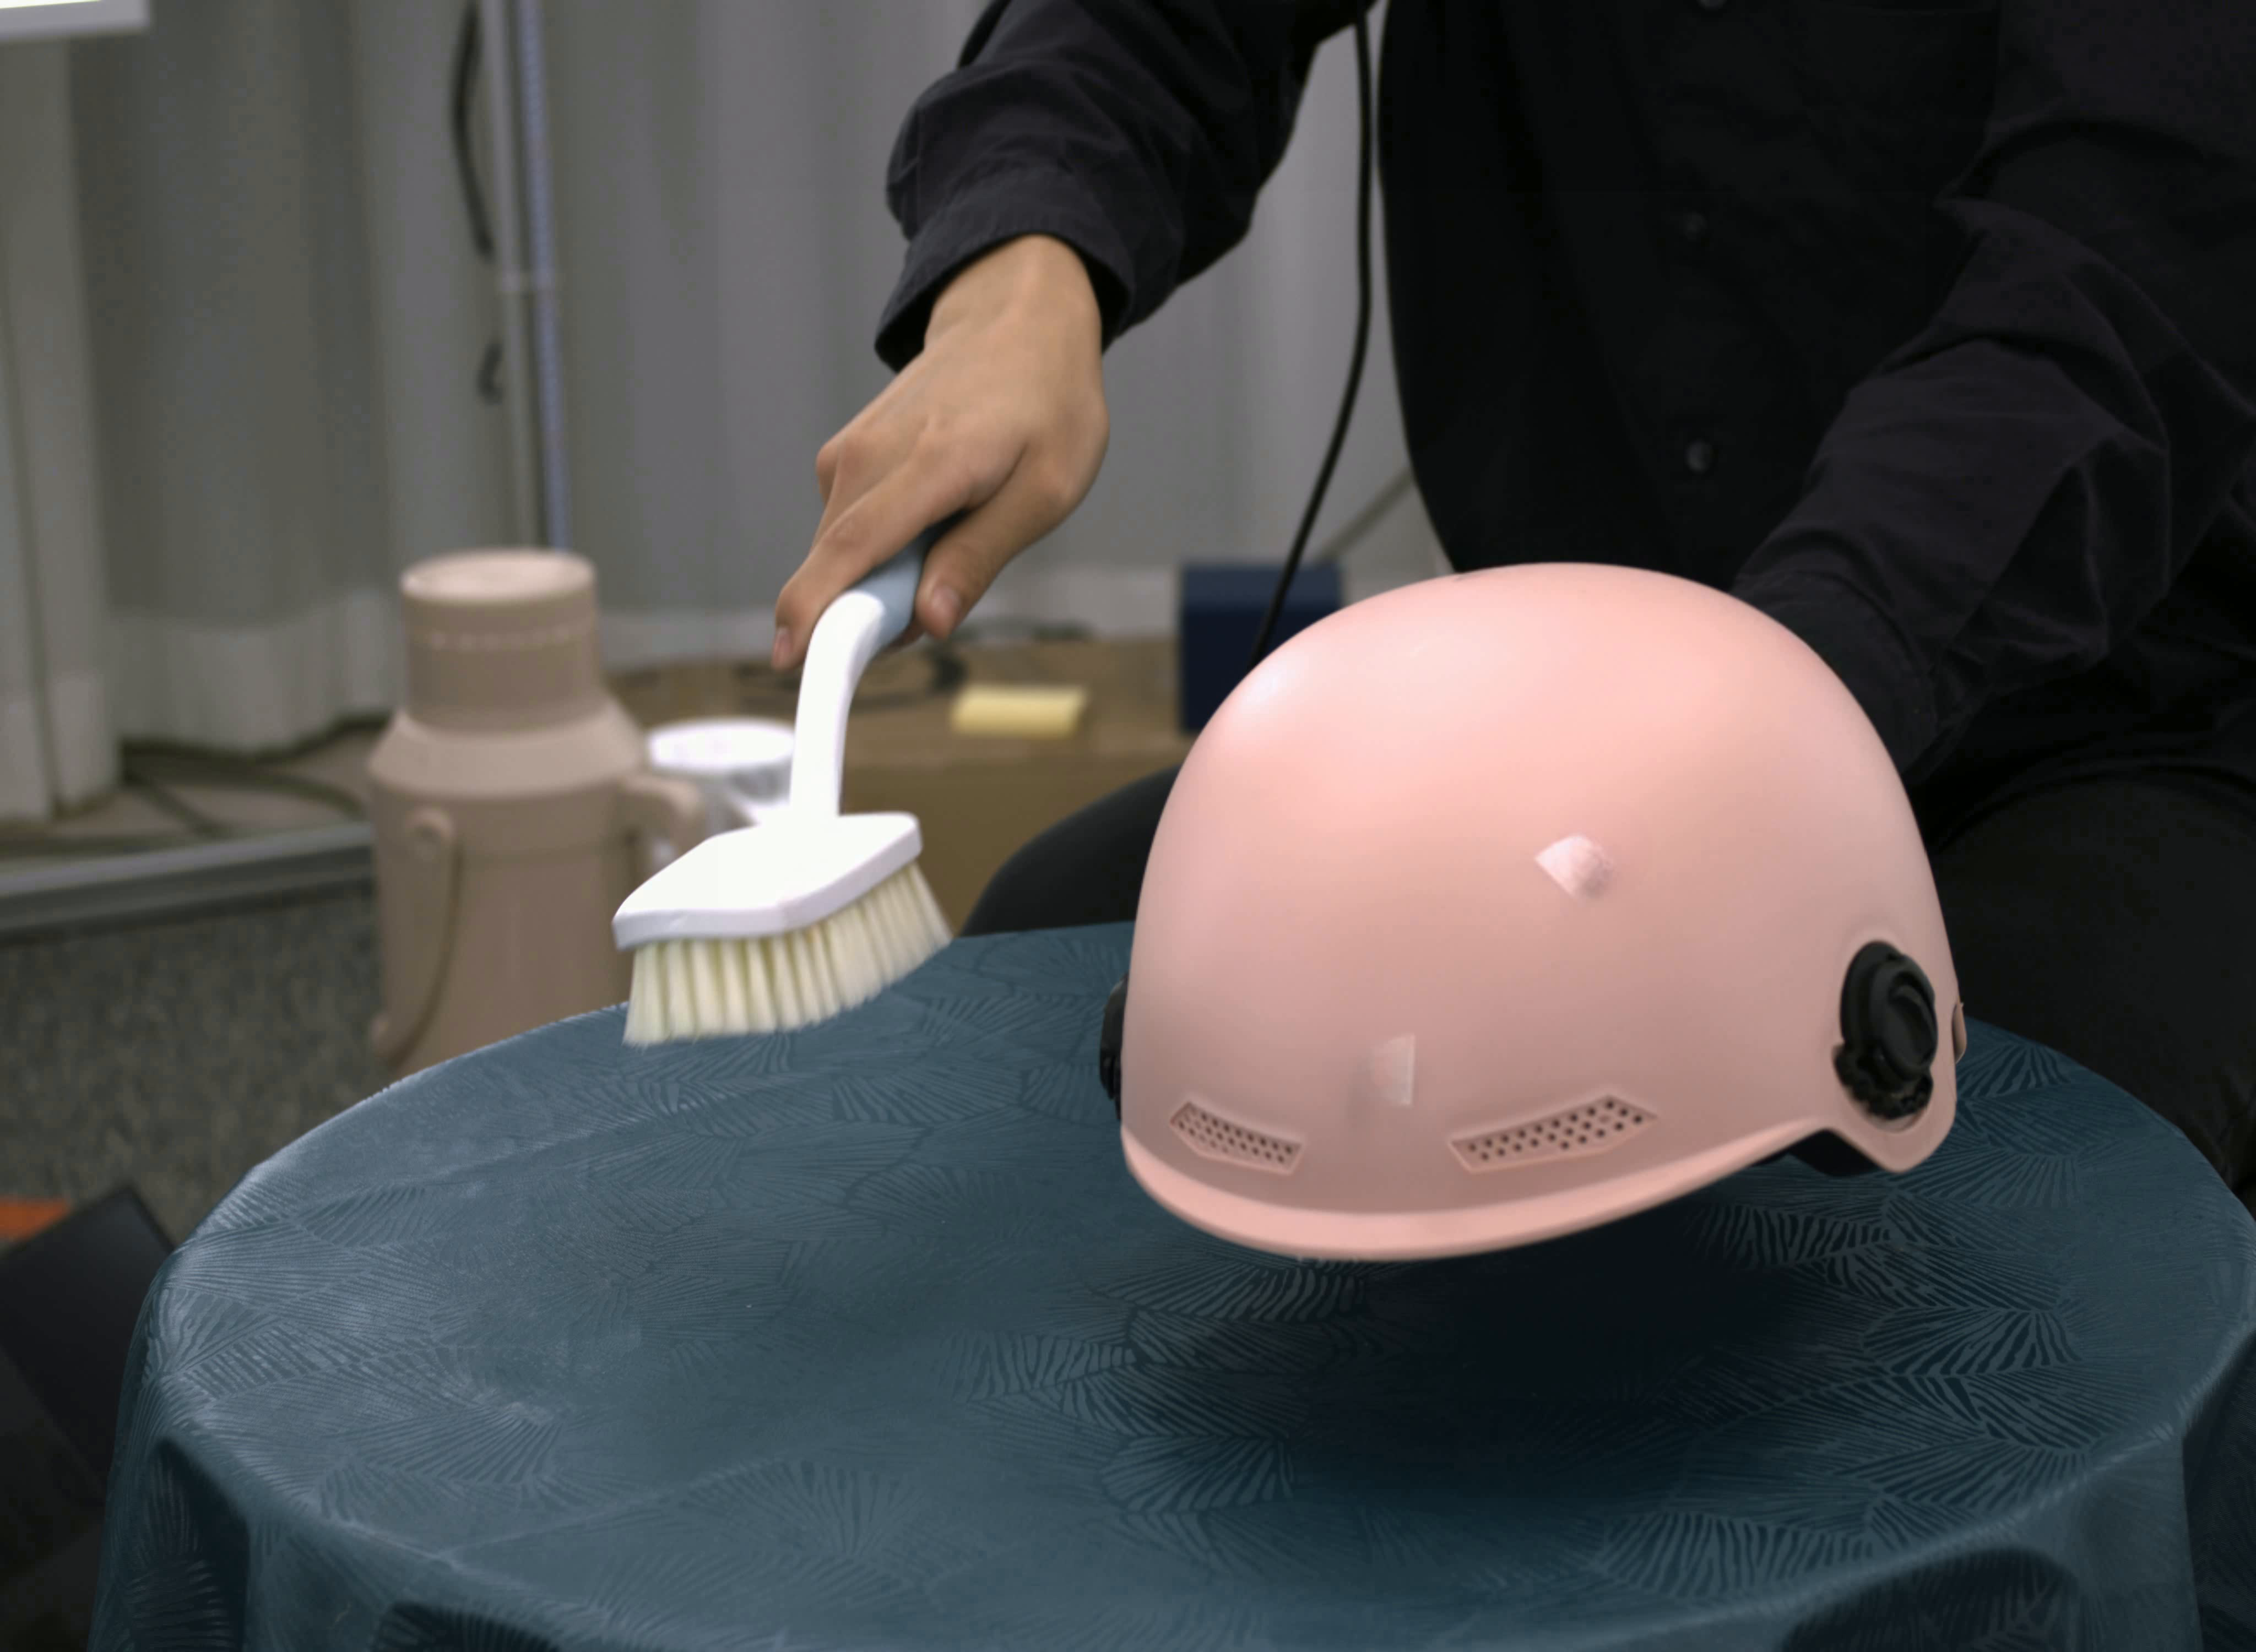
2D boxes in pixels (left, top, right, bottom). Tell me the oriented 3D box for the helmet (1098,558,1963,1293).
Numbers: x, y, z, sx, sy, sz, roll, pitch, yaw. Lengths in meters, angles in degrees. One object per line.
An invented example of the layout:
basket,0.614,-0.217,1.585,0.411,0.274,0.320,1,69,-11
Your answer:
helmet,0.104,0.015,1.418,0.237,0.159,0.262,-2,15,25

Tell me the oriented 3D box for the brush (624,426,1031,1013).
brush,-0.071,-0.019,1.589,0.083,0.085,0.324,27,31,2
